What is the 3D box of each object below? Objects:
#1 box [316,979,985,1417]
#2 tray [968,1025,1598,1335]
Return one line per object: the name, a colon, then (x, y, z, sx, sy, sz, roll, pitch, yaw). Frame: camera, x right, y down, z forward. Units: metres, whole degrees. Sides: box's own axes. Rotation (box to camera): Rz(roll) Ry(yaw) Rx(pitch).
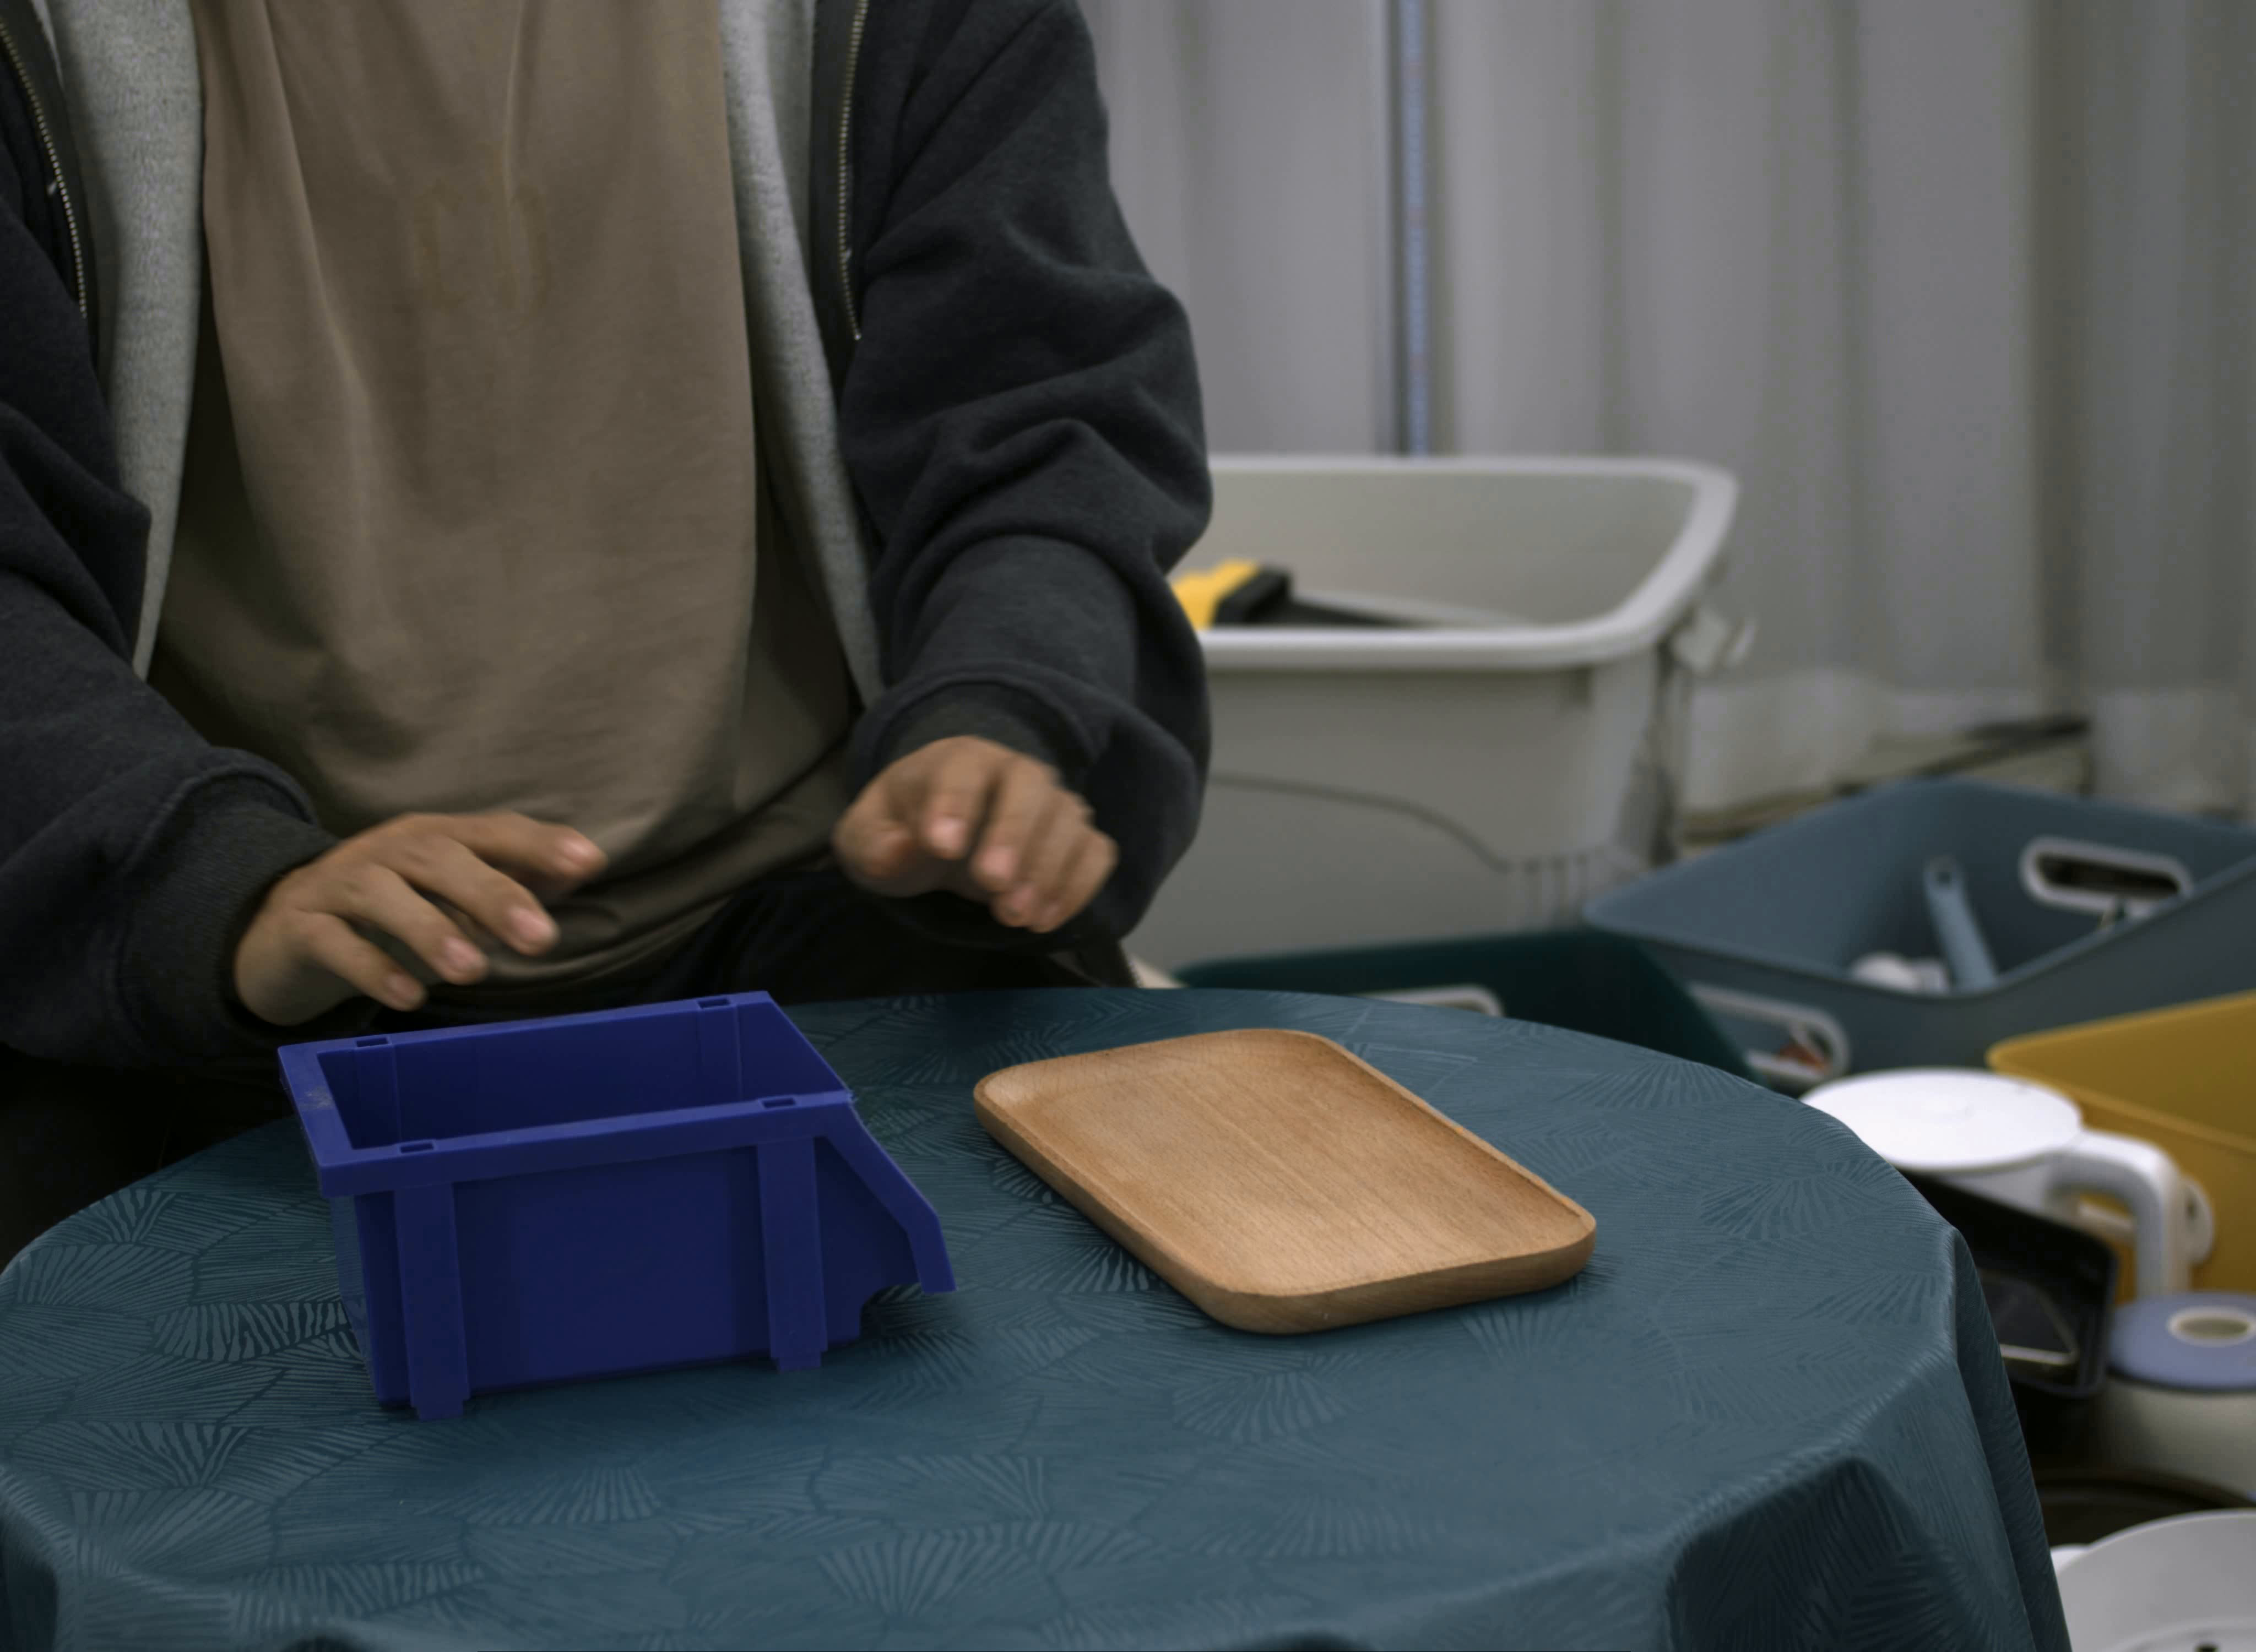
box: (-0.142, 0.106, 1.617, 0.179, 0.081, 0.125, -9, 15, -10)
tray: (0.044, 0.107, 1.701, 0.130, 0.023, 0.252, -6, 14, -20)
